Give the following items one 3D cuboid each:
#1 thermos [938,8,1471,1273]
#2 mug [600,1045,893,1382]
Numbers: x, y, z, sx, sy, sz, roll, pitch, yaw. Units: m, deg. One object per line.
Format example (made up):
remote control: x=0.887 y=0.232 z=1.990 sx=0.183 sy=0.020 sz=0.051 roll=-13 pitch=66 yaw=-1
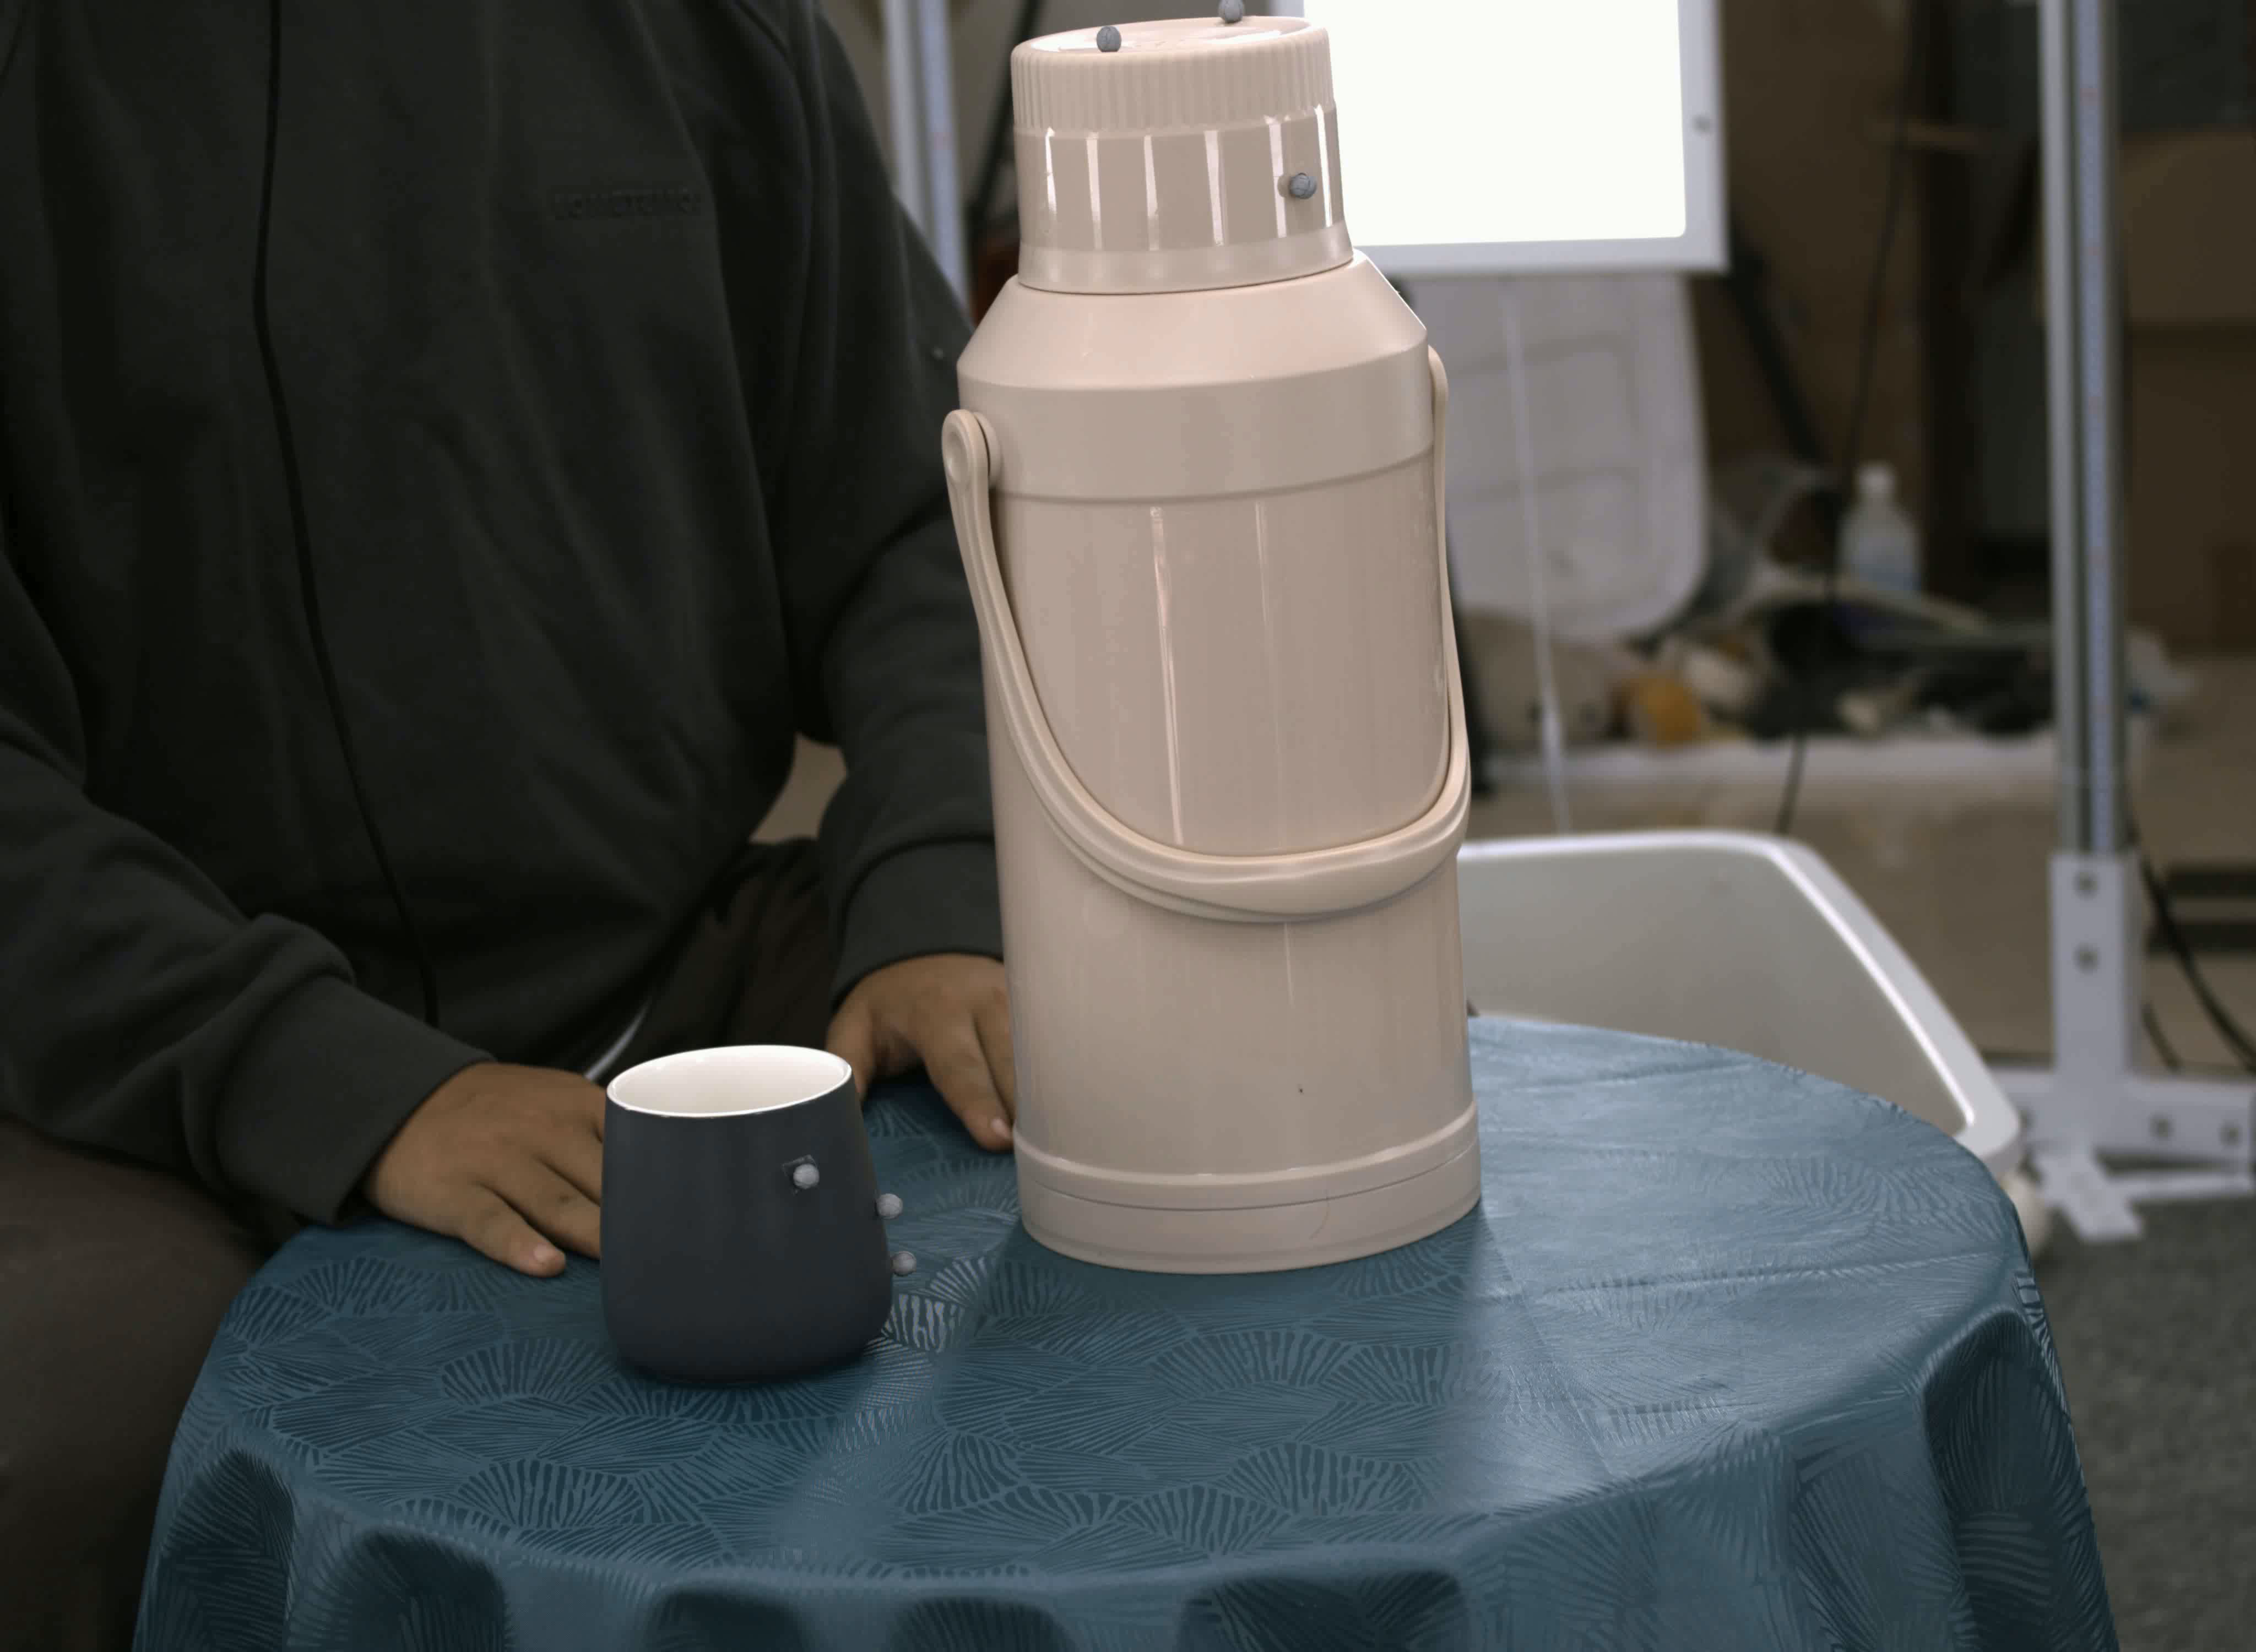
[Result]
thermos: x=0.021 y=-0.067 z=1.844 sx=0.172 sy=0.408 sz=0.210 roll=-11 pitch=15 yaw=-23
mug: x=-0.131 y=0.121 z=1.774 sx=0.091 sy=0.090 sz=0.125 roll=-12 pitch=15 yaw=-30
